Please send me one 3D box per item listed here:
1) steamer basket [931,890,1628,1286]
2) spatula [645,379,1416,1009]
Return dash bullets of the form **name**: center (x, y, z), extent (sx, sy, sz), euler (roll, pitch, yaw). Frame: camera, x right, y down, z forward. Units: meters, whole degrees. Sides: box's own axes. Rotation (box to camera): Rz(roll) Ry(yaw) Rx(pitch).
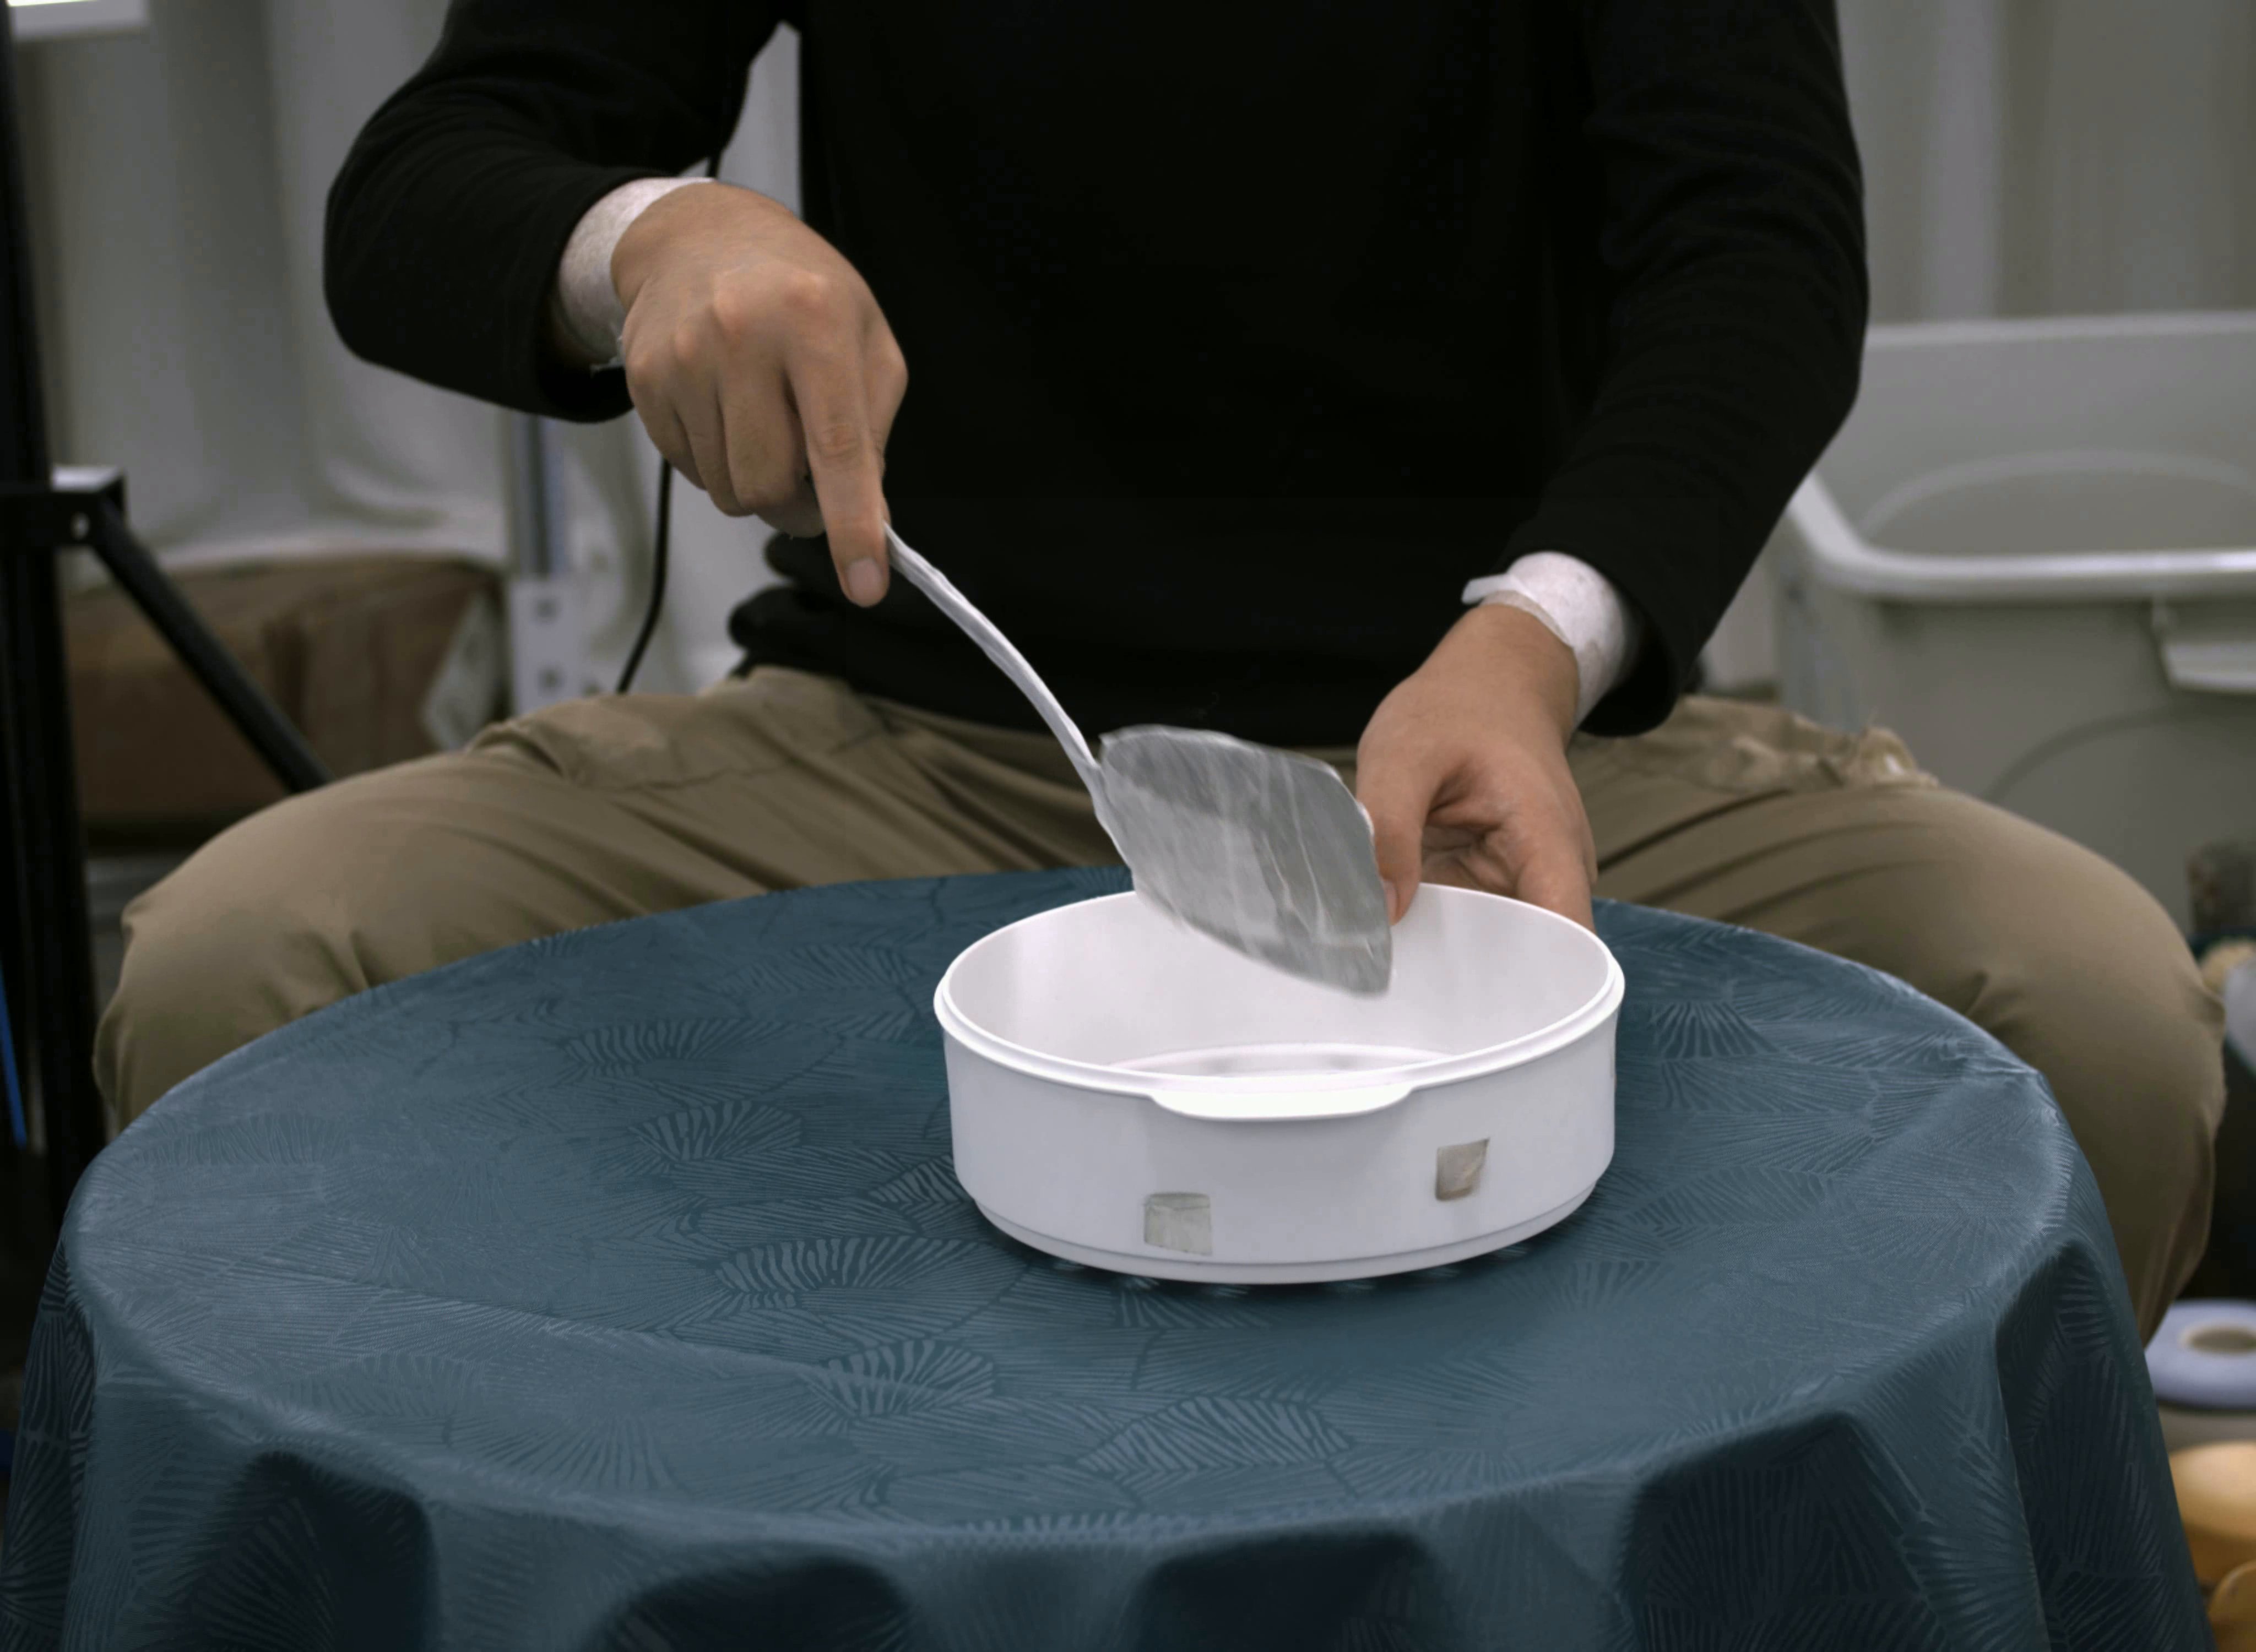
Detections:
- **steamer basket**: center (0.044, 0.075, 1.540), extent (0.201, 0.069, 0.231), euler (-1, 15, 3)
- **spatula**: center (-0.040, -0.058, 1.628), extent (0.044, 0.097, 0.373), euler (-32, 48, -17)
